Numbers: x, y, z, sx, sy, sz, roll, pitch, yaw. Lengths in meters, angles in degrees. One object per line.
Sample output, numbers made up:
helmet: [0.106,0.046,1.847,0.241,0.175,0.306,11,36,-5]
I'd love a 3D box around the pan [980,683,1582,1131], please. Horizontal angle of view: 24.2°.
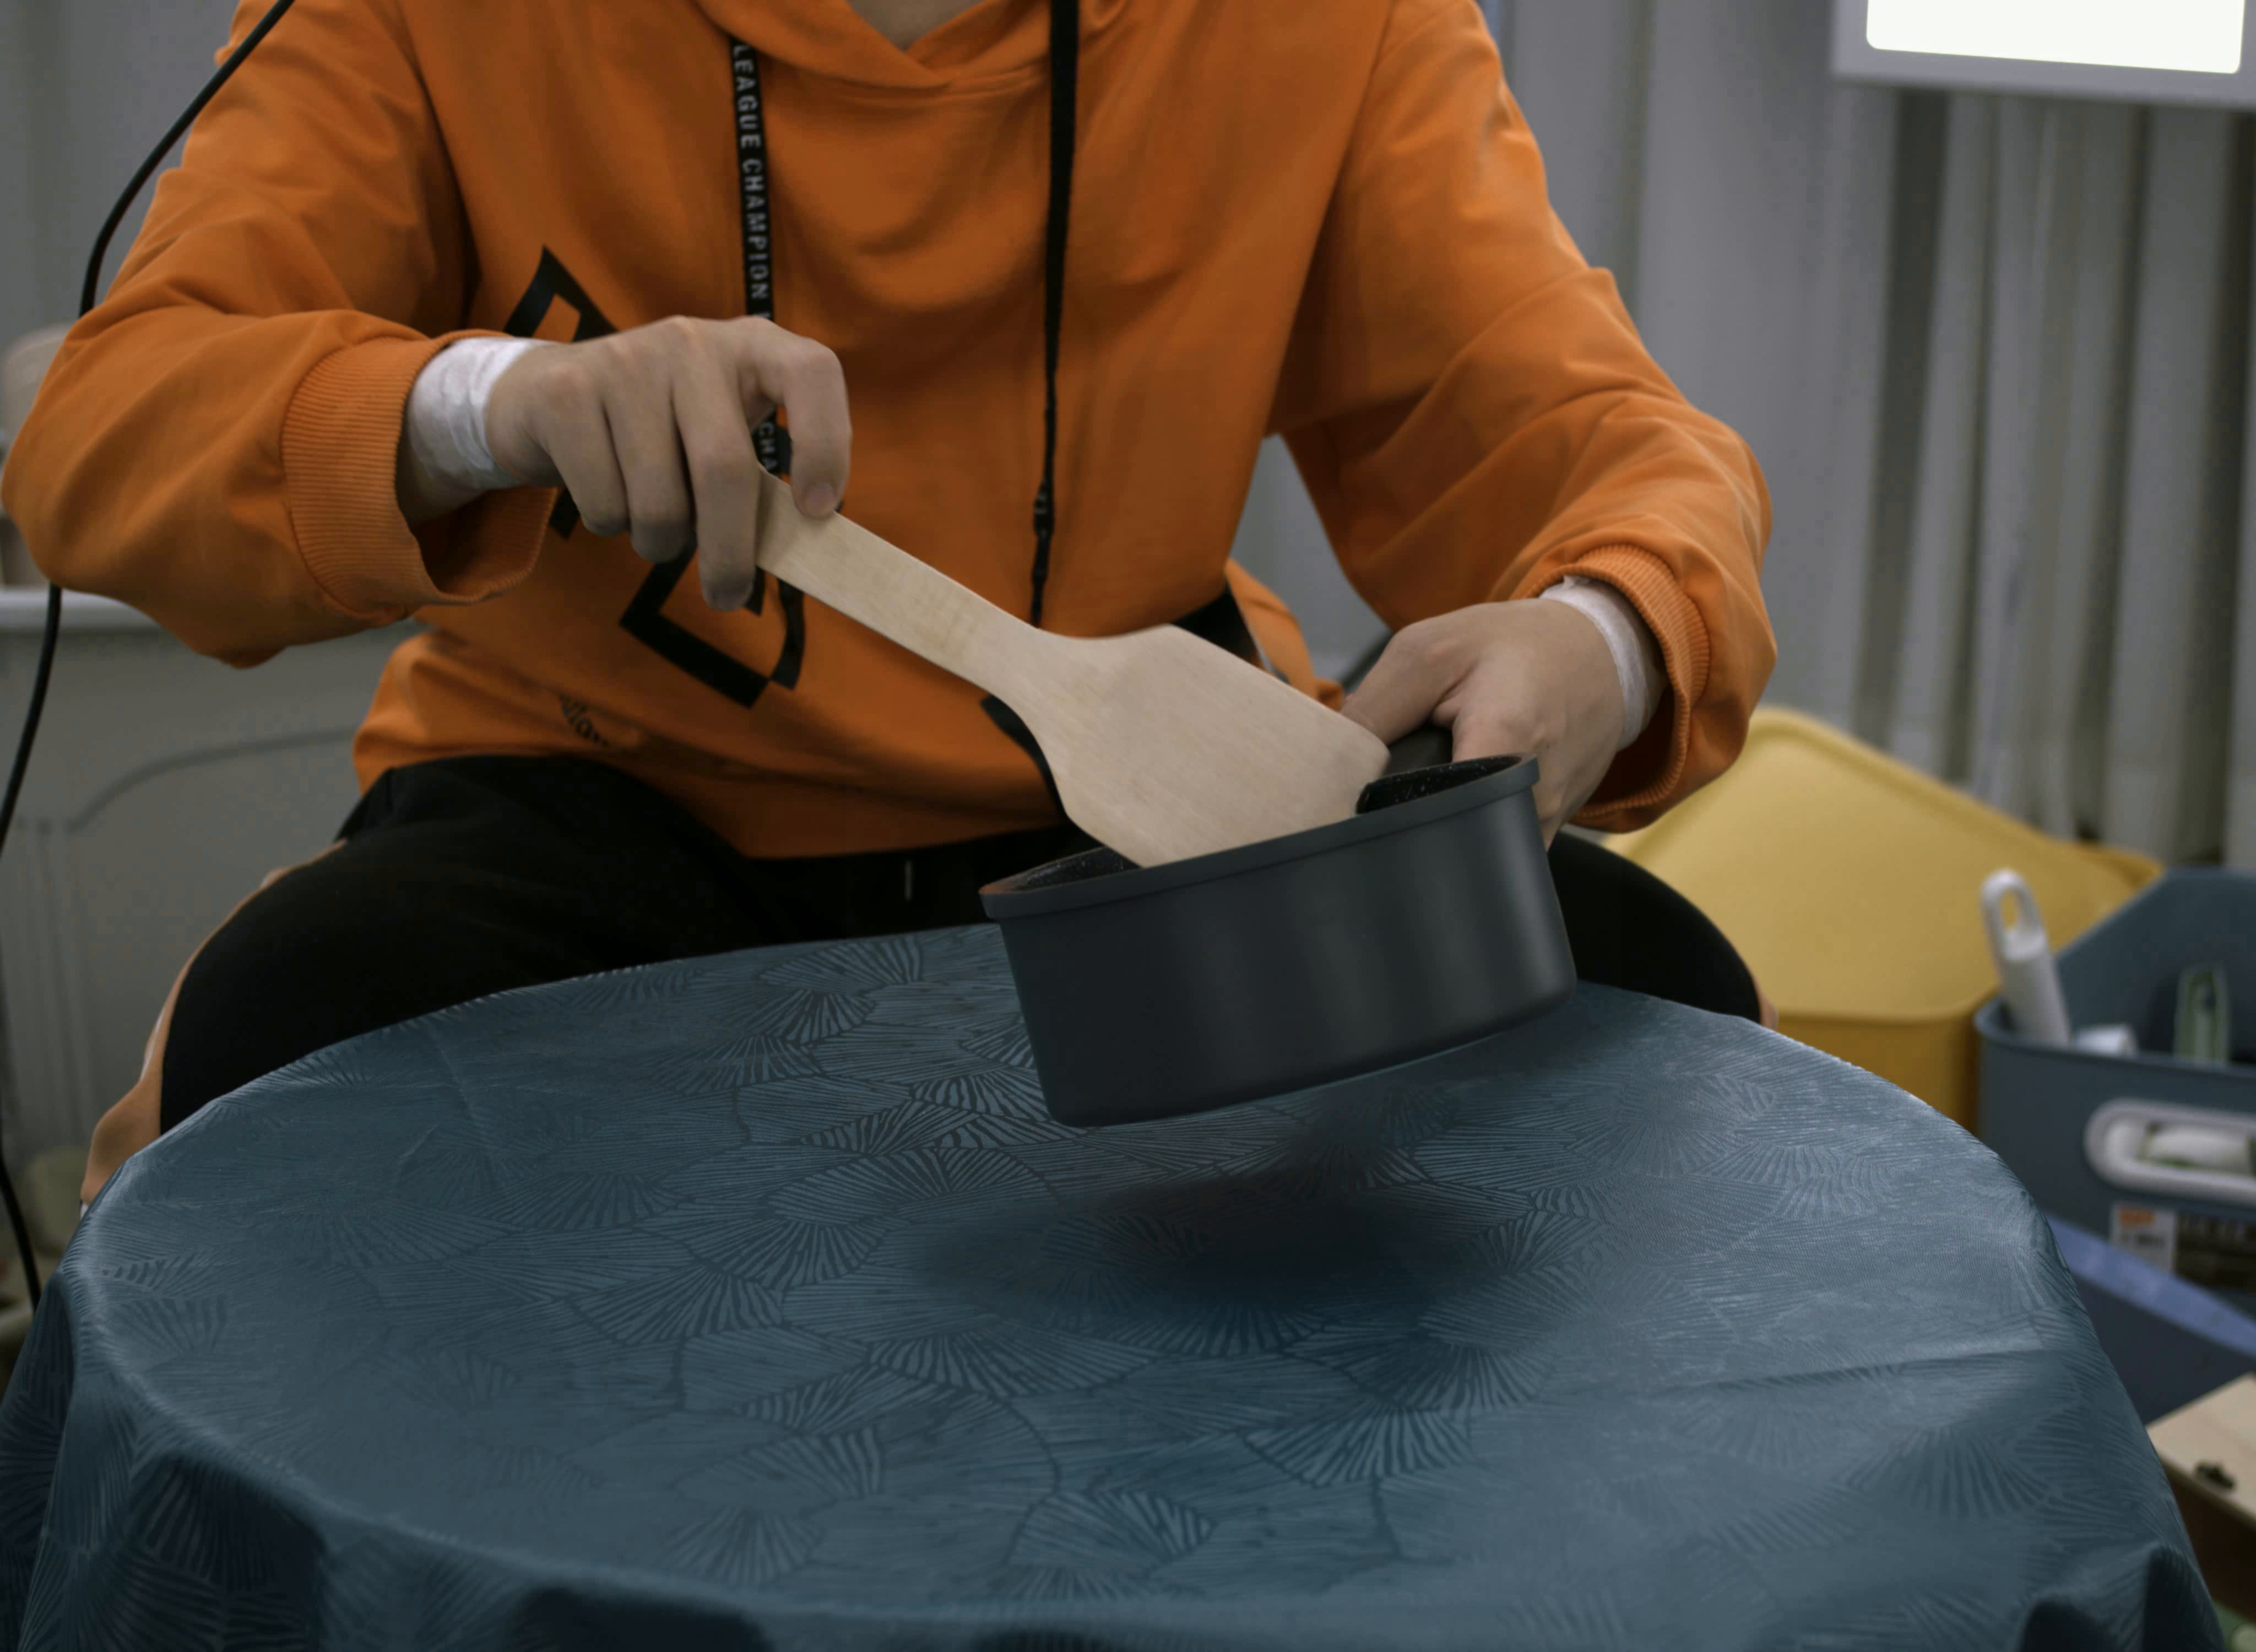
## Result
pan: [0.073,0.020,1.638,0.170,0.087,0.329,-12,5,21]

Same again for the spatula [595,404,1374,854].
spatula: [-0.054,-0.063,1.615,0.289,0.072,0.011,29,6,26]
